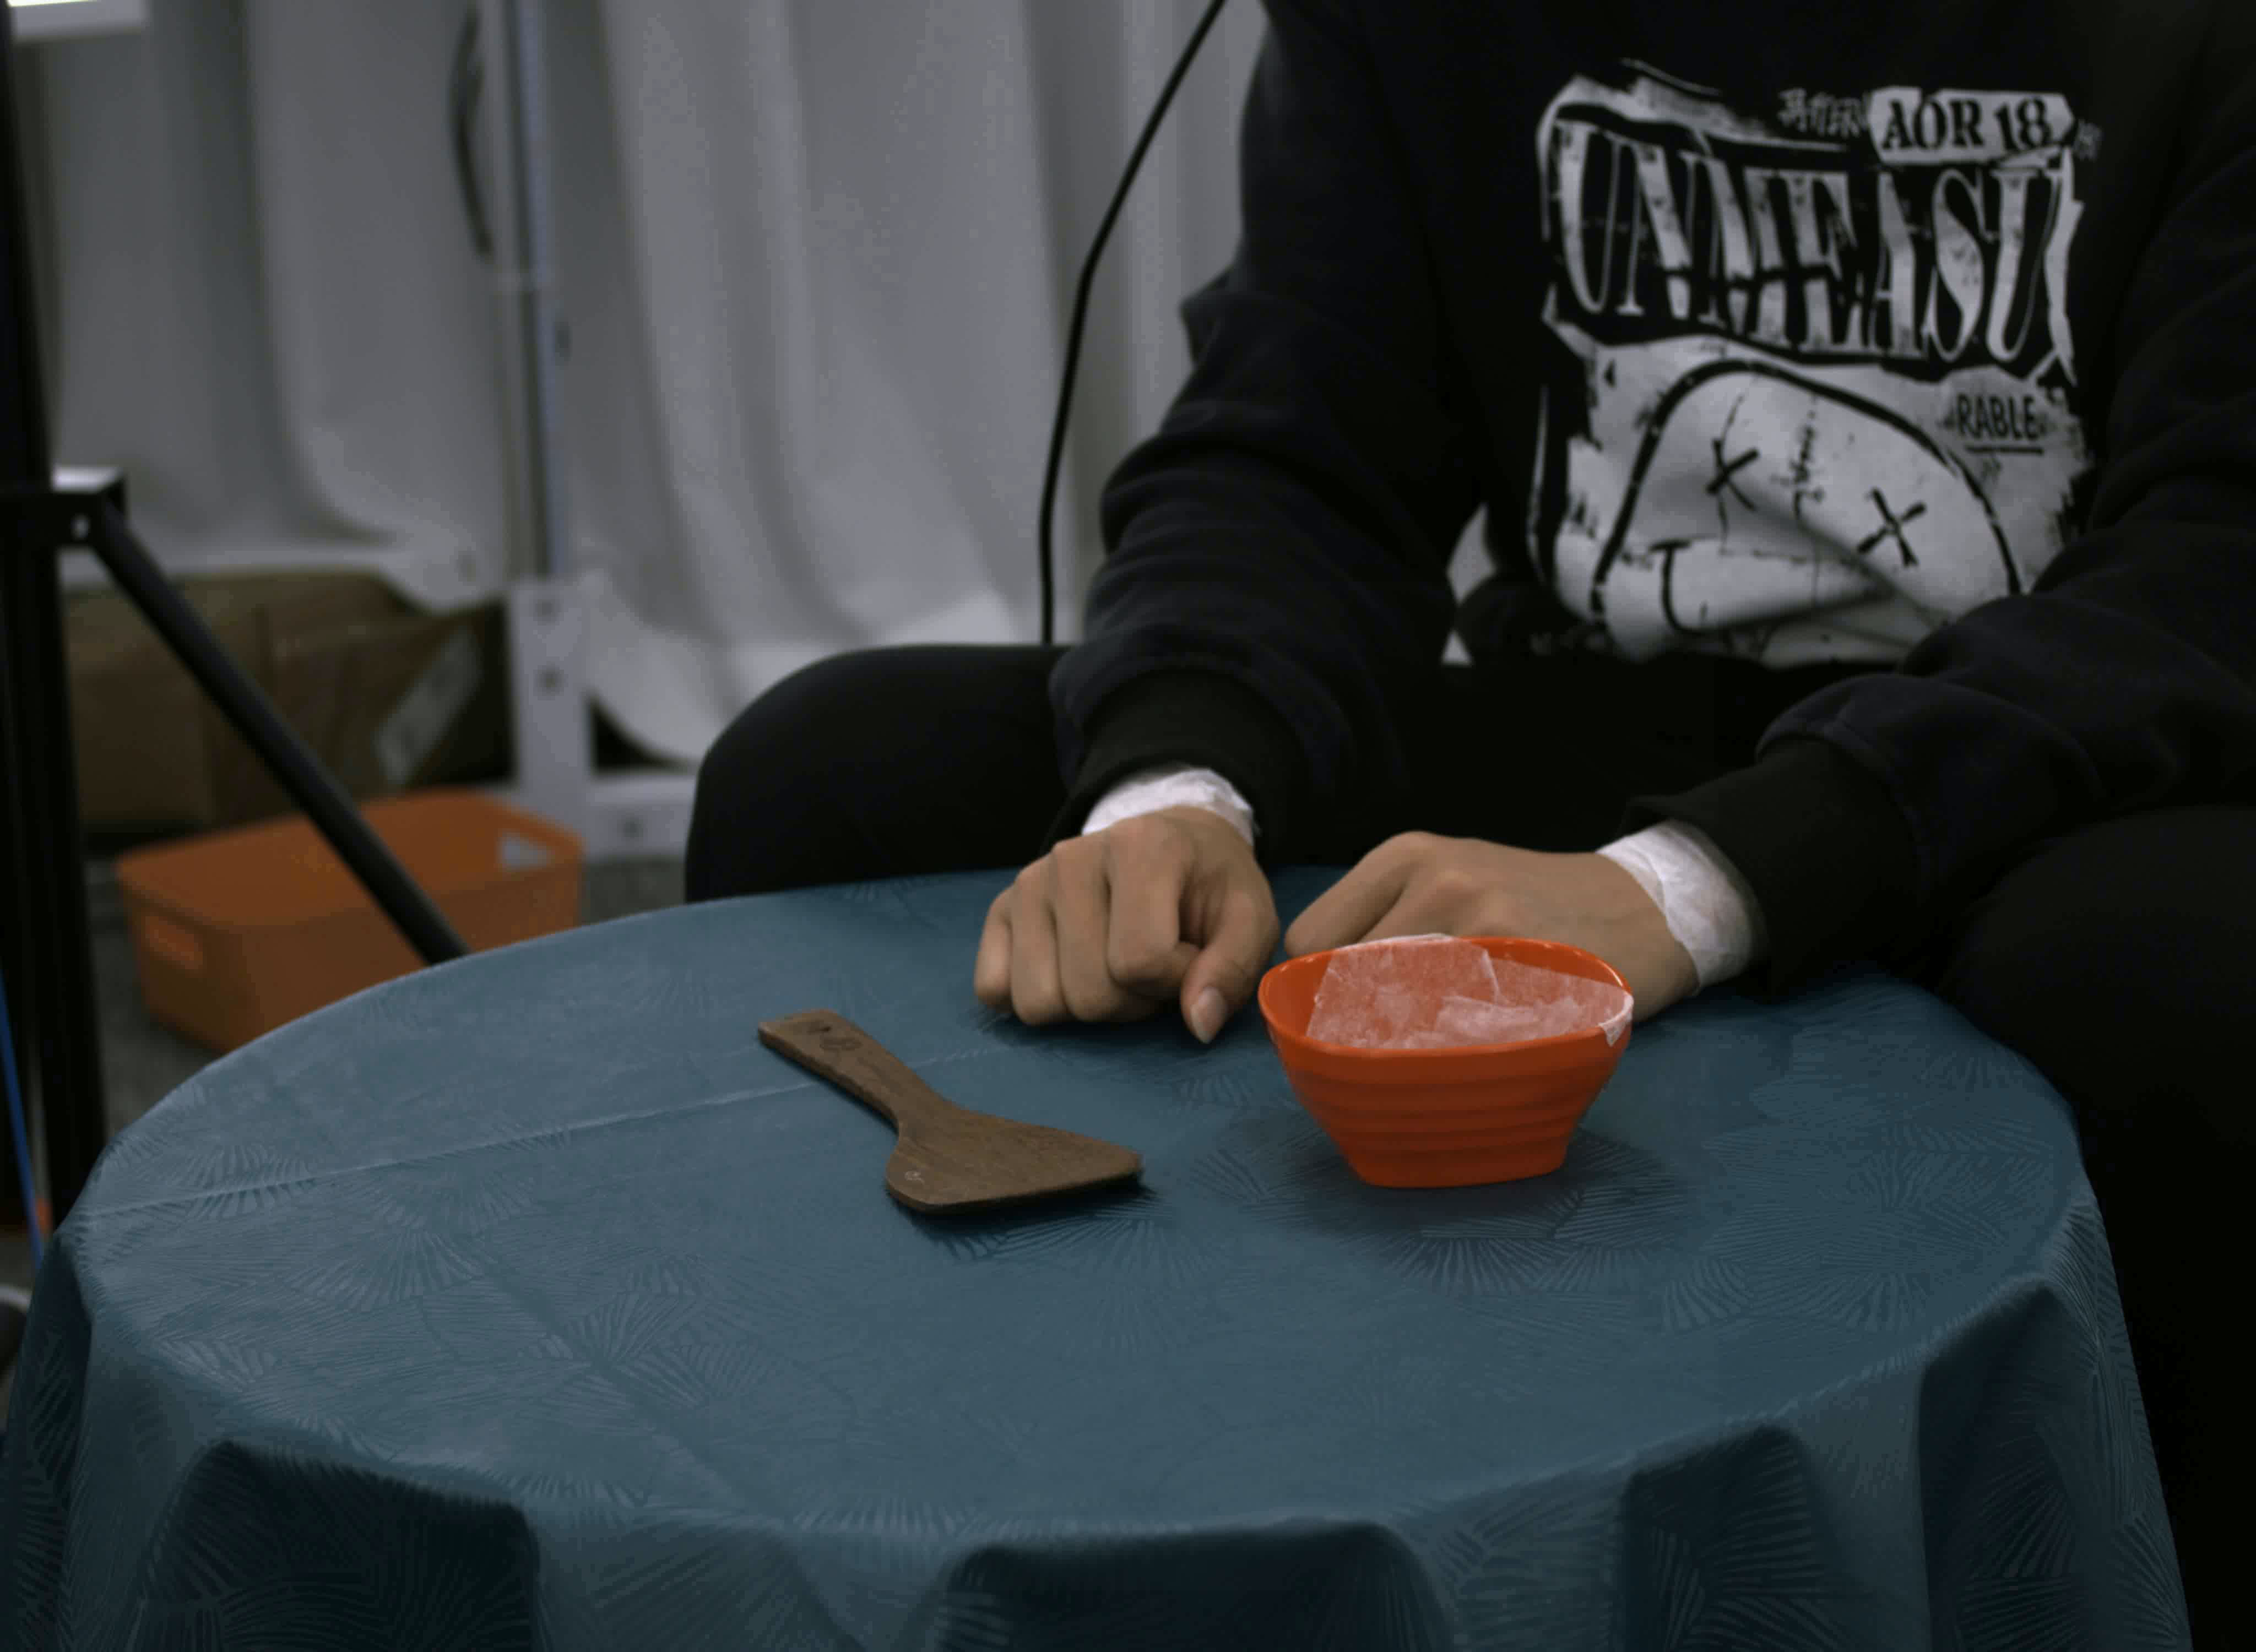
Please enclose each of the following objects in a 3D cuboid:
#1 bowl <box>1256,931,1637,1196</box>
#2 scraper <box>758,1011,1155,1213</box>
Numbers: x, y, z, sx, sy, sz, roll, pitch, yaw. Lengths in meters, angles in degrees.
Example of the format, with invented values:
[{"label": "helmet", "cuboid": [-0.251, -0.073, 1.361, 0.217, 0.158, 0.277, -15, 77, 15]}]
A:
[{"label": "bowl", "cuboid": [0.095, 0.073, 1.574, 0.118, 0.051, 0.119, -4, 17, 0]}, {"label": "scraper", "cuboid": [-0.065, 0.086, 1.631, 0.074, 0.011, 0.215, -8, 16, -23]}]
